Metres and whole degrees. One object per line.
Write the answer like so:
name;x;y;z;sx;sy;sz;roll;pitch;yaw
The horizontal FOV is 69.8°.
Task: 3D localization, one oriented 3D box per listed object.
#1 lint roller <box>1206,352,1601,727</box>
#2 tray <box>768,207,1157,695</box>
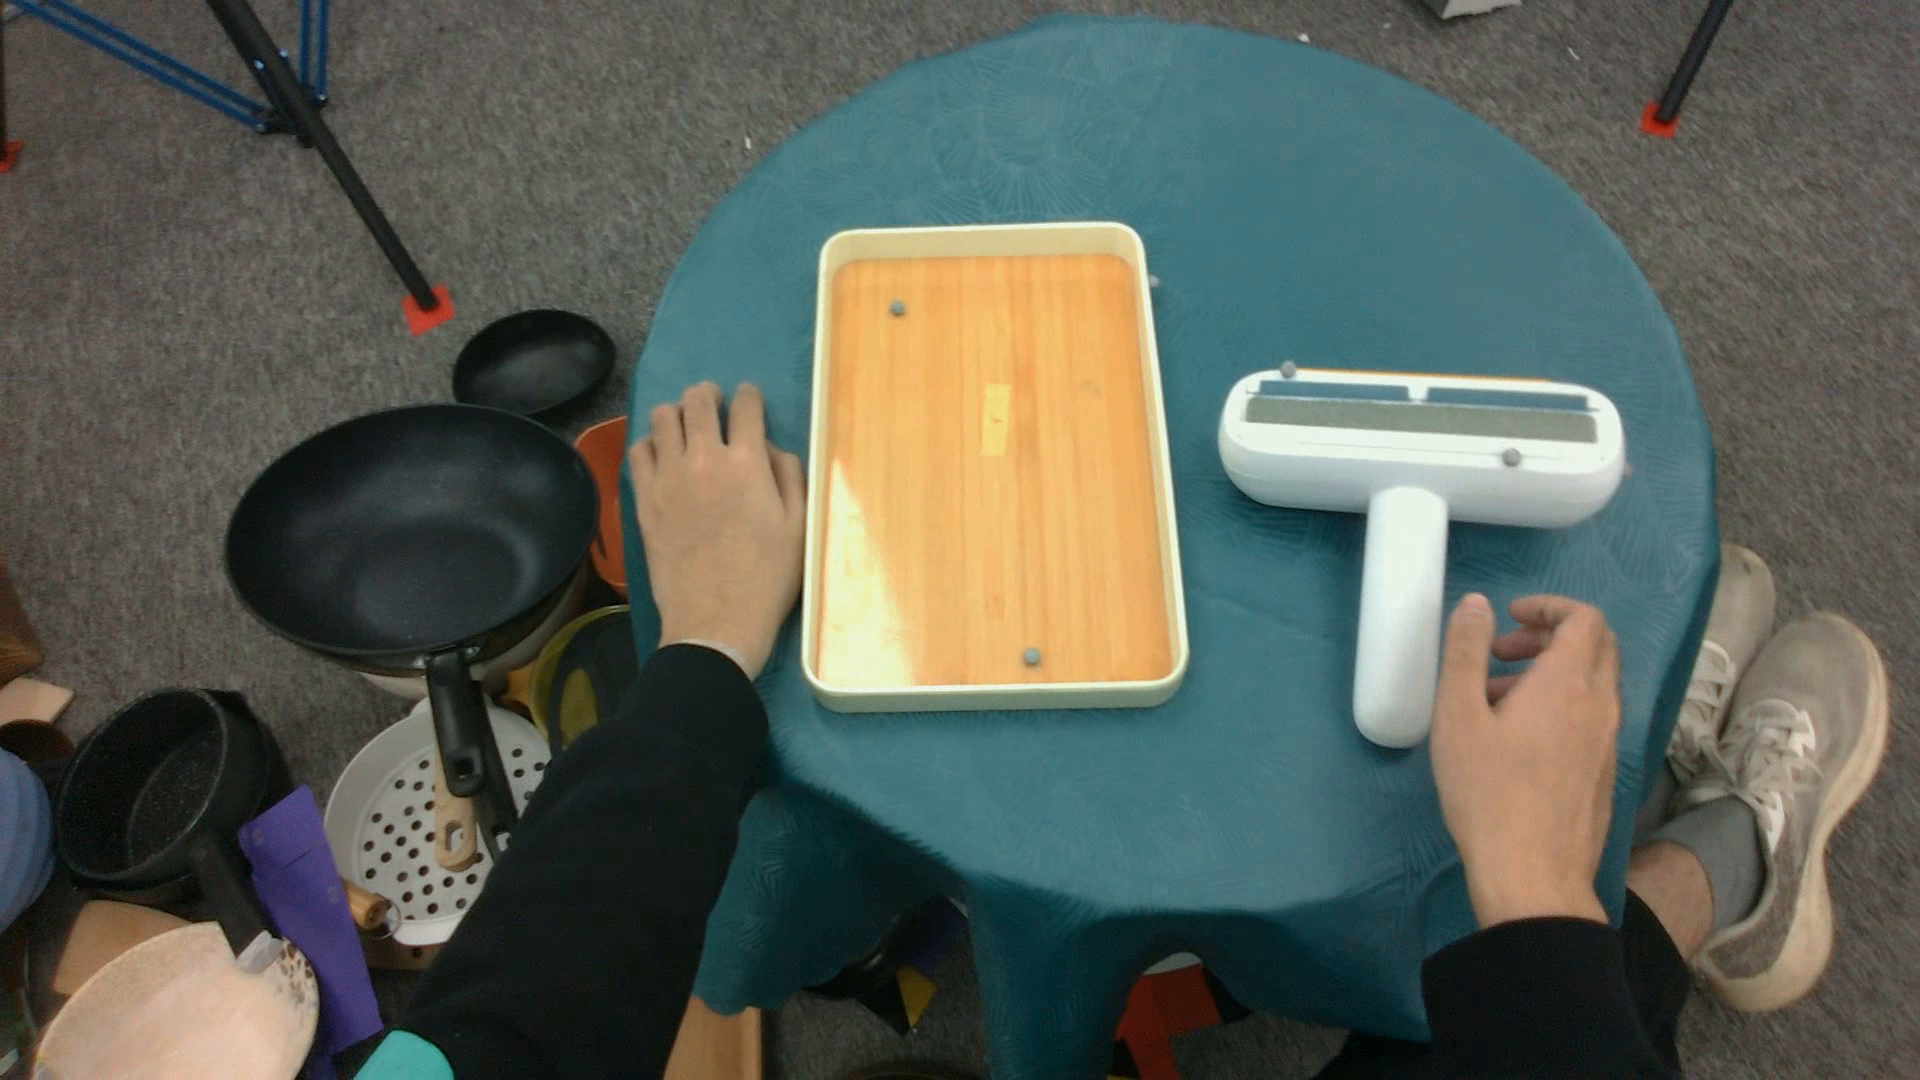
lint roller;0.209;-0.003;0.687;0.193;0.074;0.193;11;62;13
tray;-0.001;-0.059;0.746;0.191;0.027;0.301;-1;59;1
